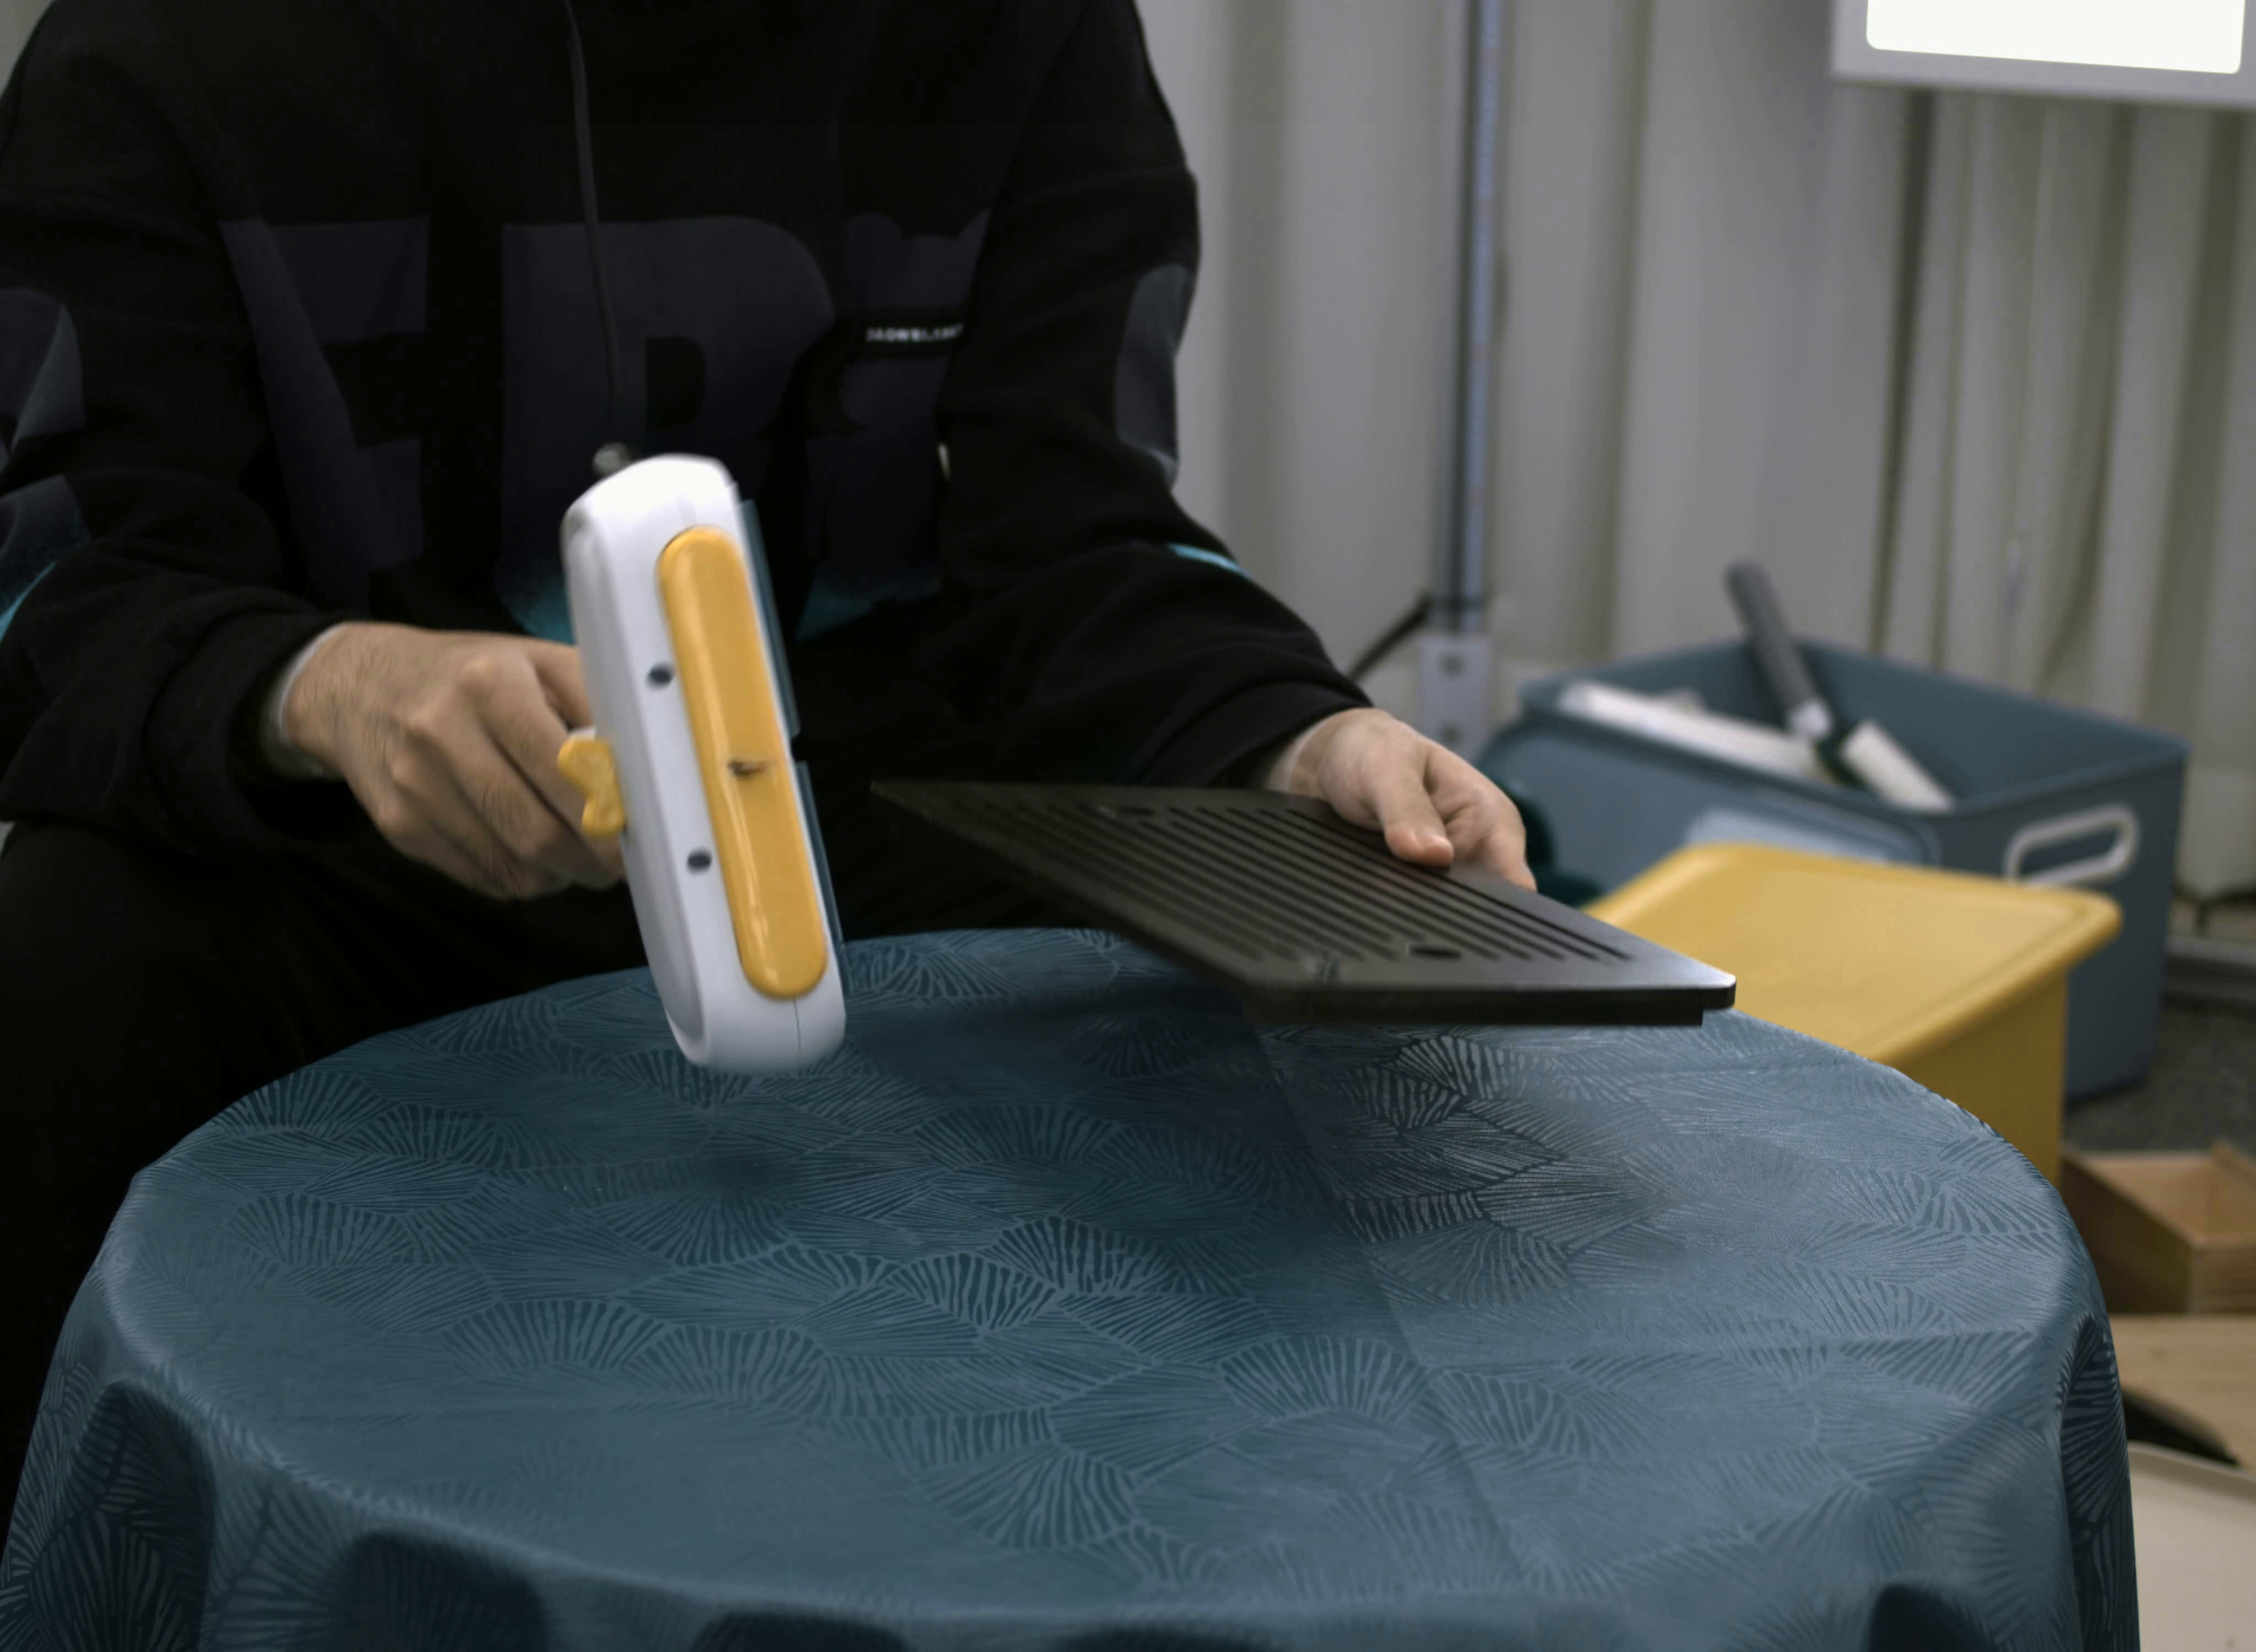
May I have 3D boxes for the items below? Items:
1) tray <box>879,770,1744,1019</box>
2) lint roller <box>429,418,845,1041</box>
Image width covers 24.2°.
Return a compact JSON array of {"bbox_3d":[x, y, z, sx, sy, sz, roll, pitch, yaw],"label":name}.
[{"bbox_3d":[0.051,0.021,1.689,0.171,0.019,0.302,3,10,-27],"label":"tray"},{"bbox_3d":[-0.163,-0.020,1.662,0.074,0.193,0.191,-16,1,-28],"label":"lint roller"}]
